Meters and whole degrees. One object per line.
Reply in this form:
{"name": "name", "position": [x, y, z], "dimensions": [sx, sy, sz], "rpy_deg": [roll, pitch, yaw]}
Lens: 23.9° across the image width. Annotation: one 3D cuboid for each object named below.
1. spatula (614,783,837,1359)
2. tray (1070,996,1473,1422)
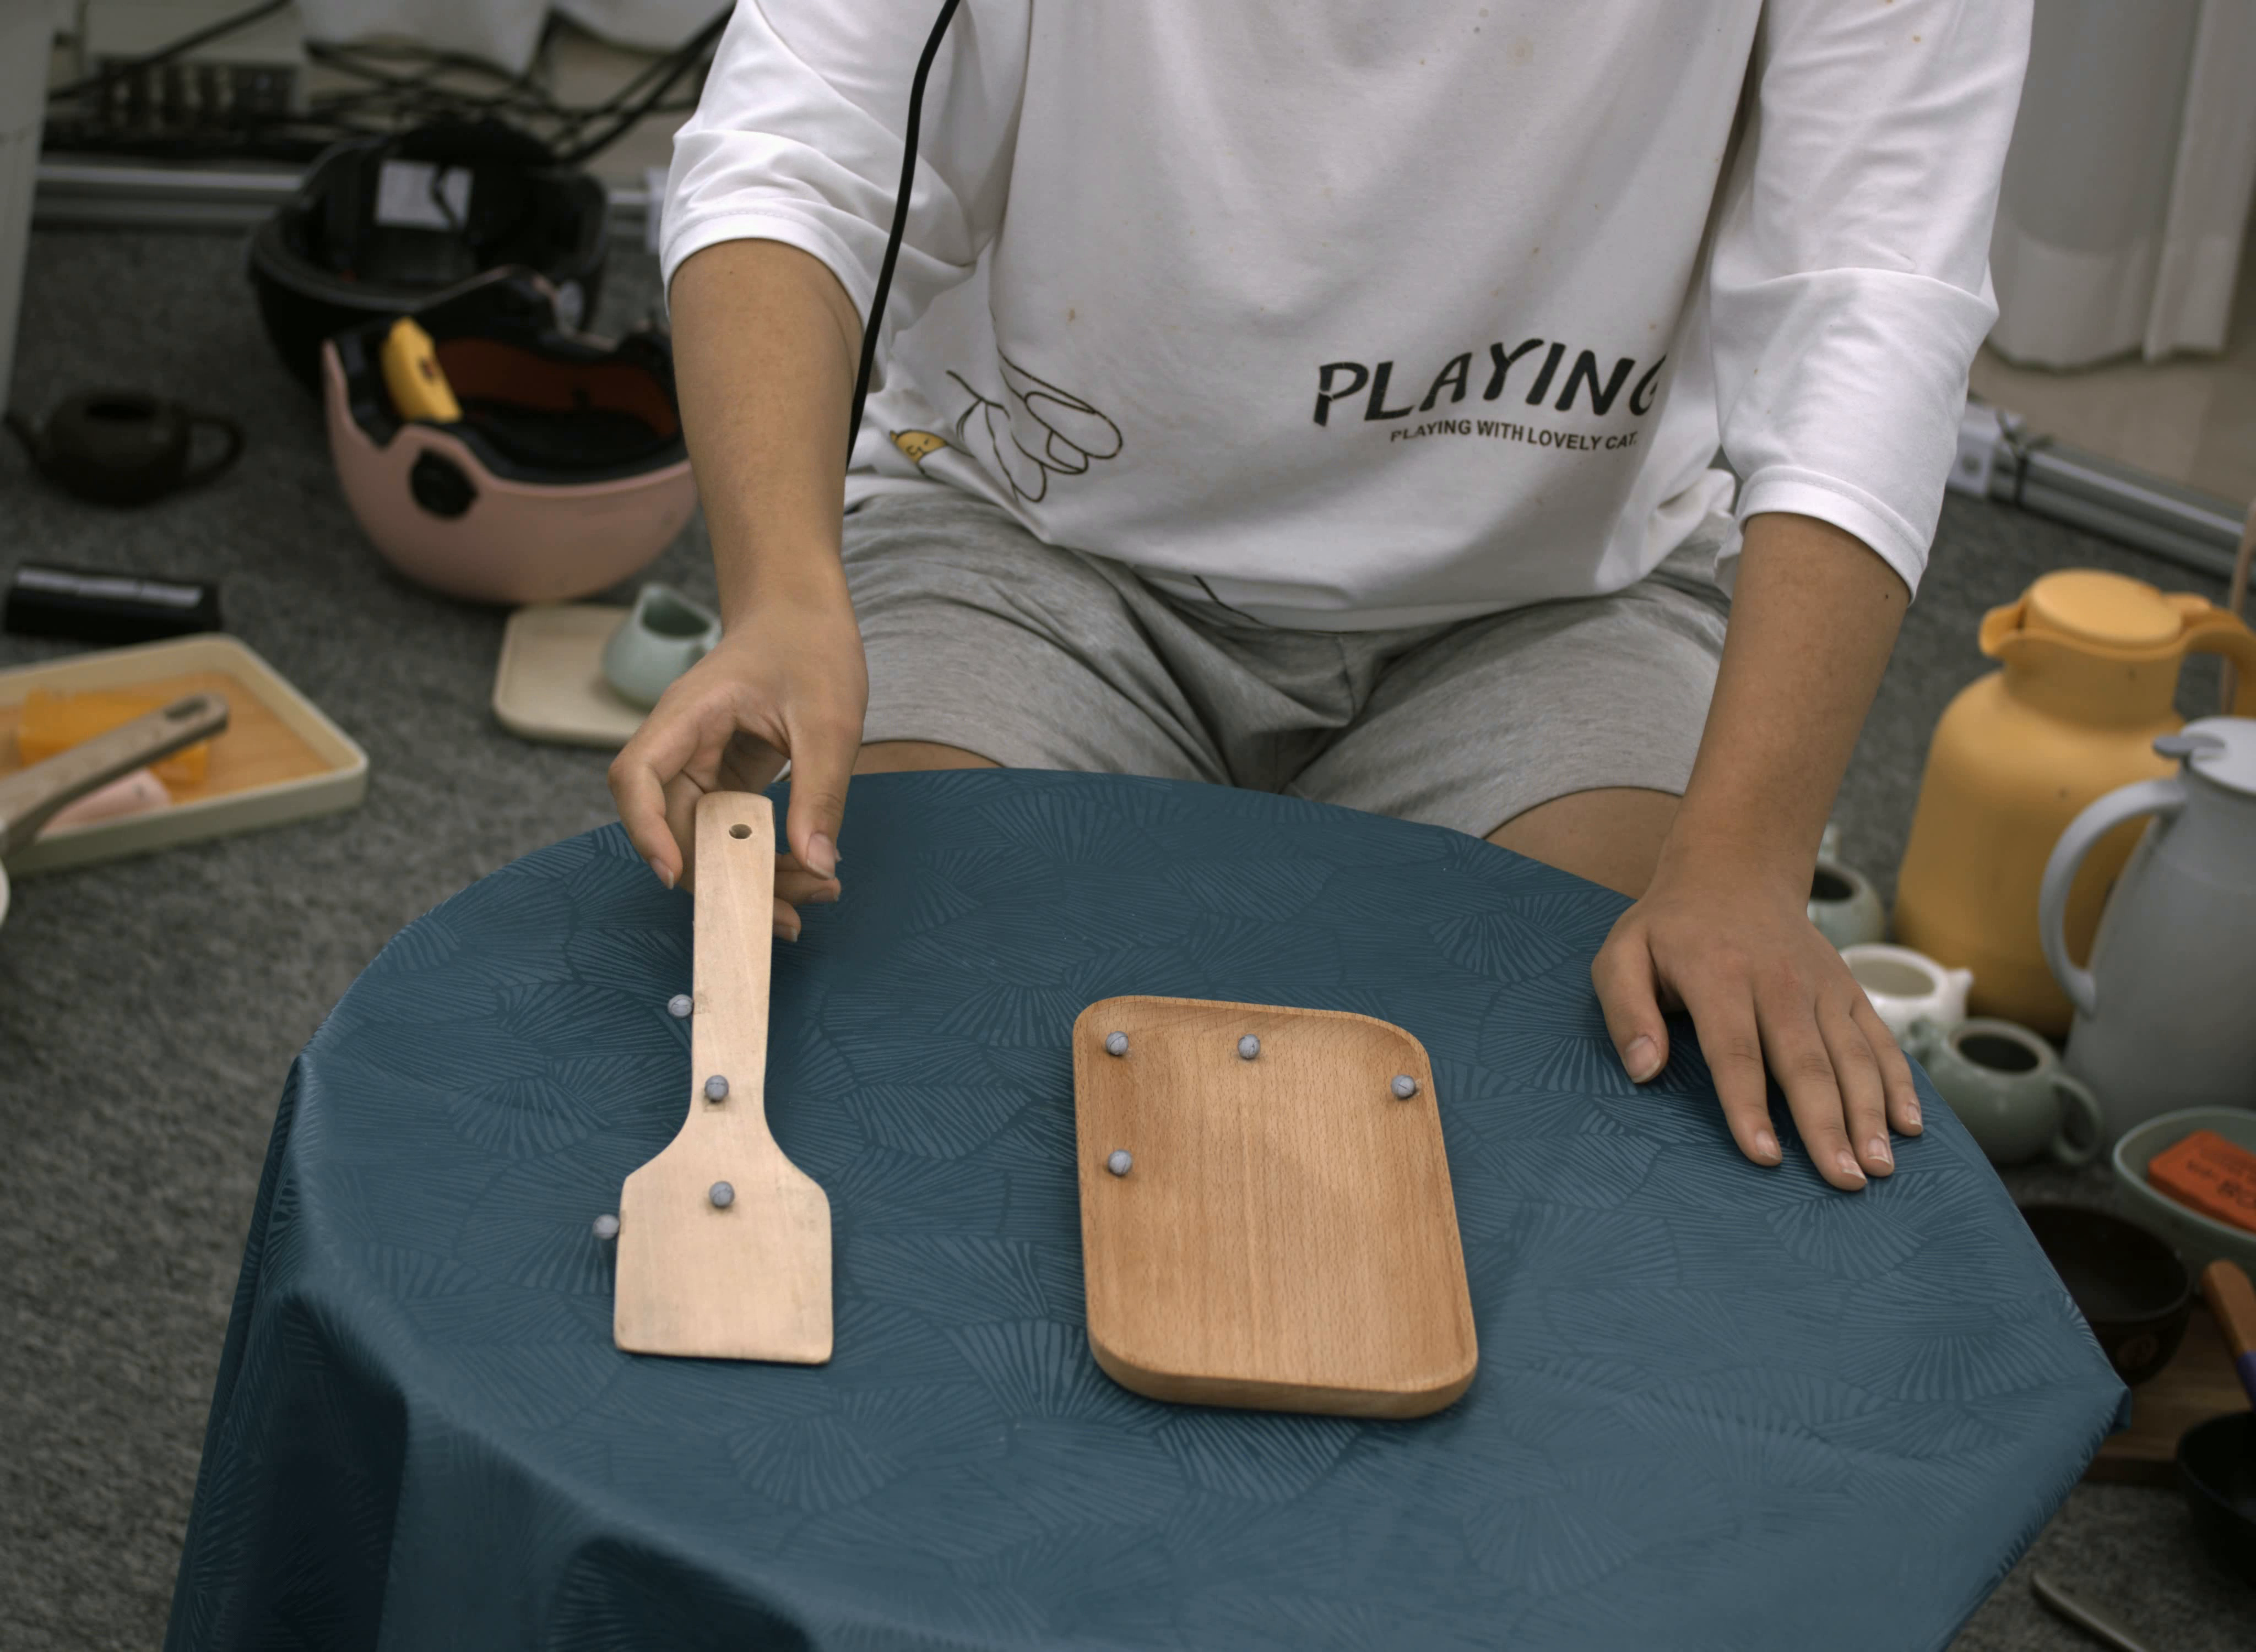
{"name": "spatula", "position": [-0.135, 0.078, 1.802], "dimensions": [0.072, 0.010, 0.295], "rpy_deg": [3, 38, -6]}
{"name": "tray", "position": [0.045, 0.126, 1.794], "dimensions": [0.130, 0.023, 0.252], "rpy_deg": [3, 27, -2]}
